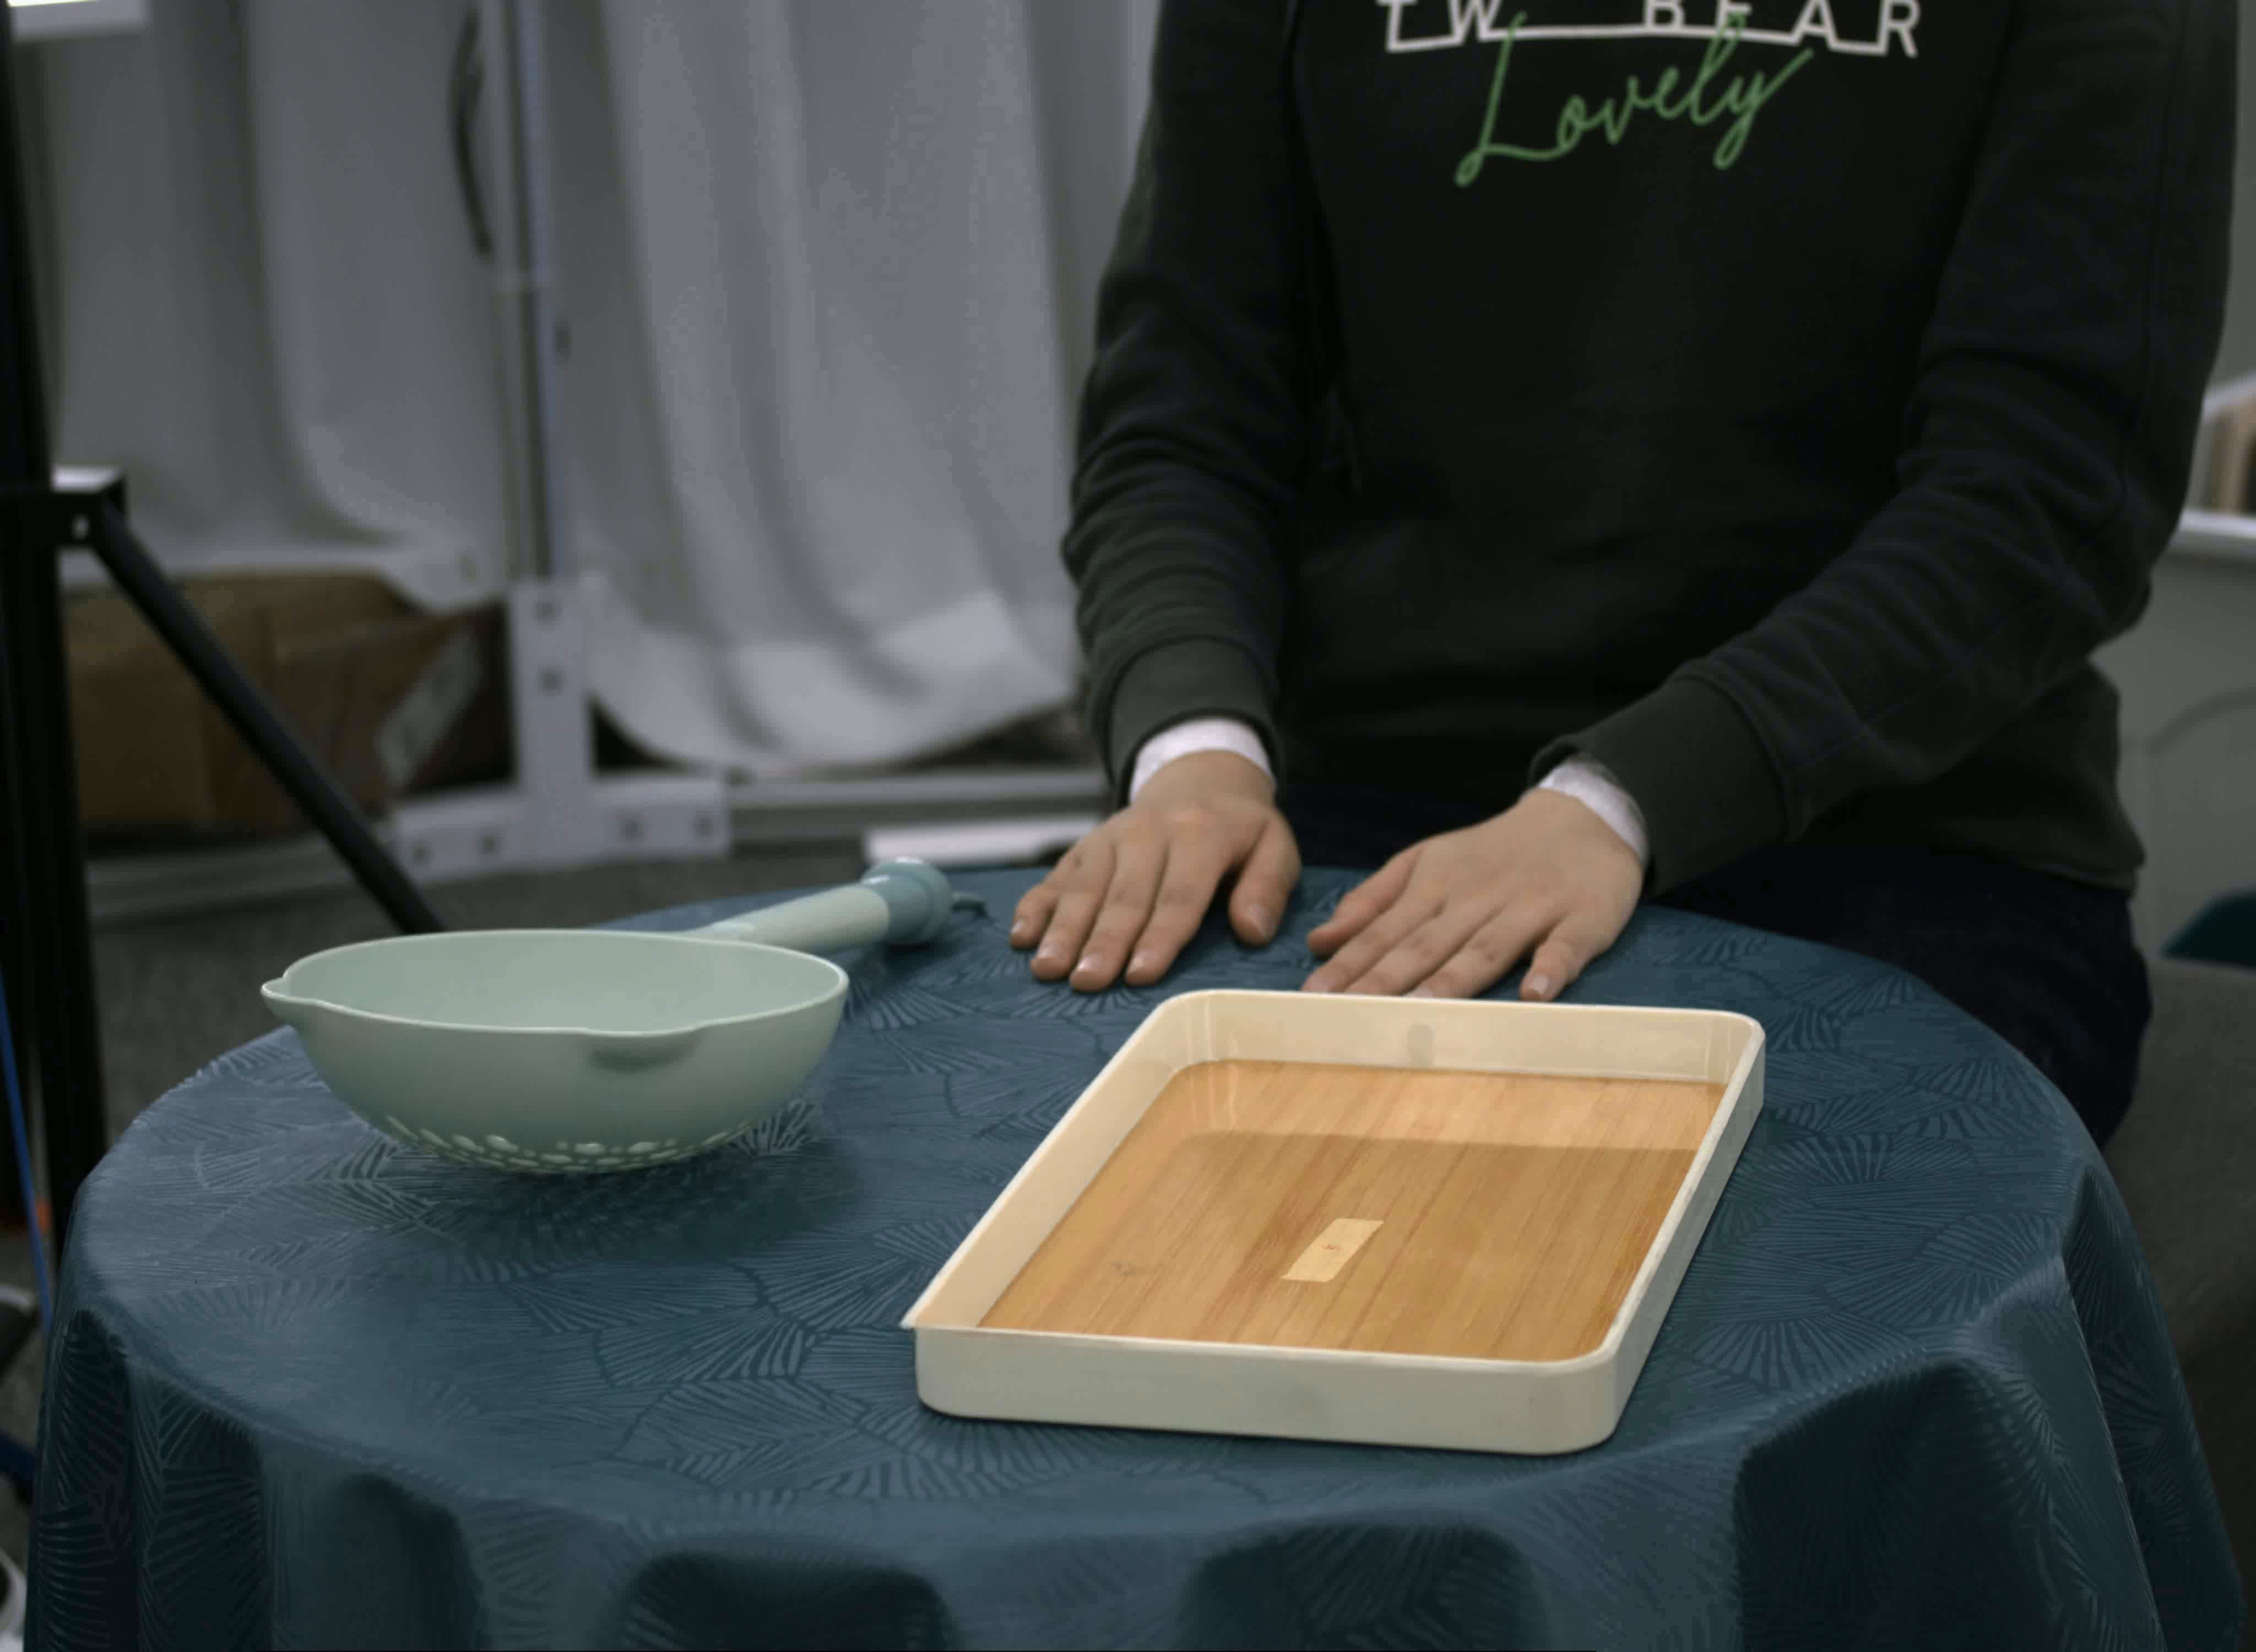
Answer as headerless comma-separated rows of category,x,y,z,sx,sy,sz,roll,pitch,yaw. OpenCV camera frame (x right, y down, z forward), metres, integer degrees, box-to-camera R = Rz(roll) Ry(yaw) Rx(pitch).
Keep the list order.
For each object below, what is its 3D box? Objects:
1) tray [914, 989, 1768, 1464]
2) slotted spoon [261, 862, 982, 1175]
tray,0.069,0.107,1.501,0.193,0.027,0.298,2,17,16
slotted spoon,-0.129,0.045,1.684,0.172,0.075,0.353,5,17,24
